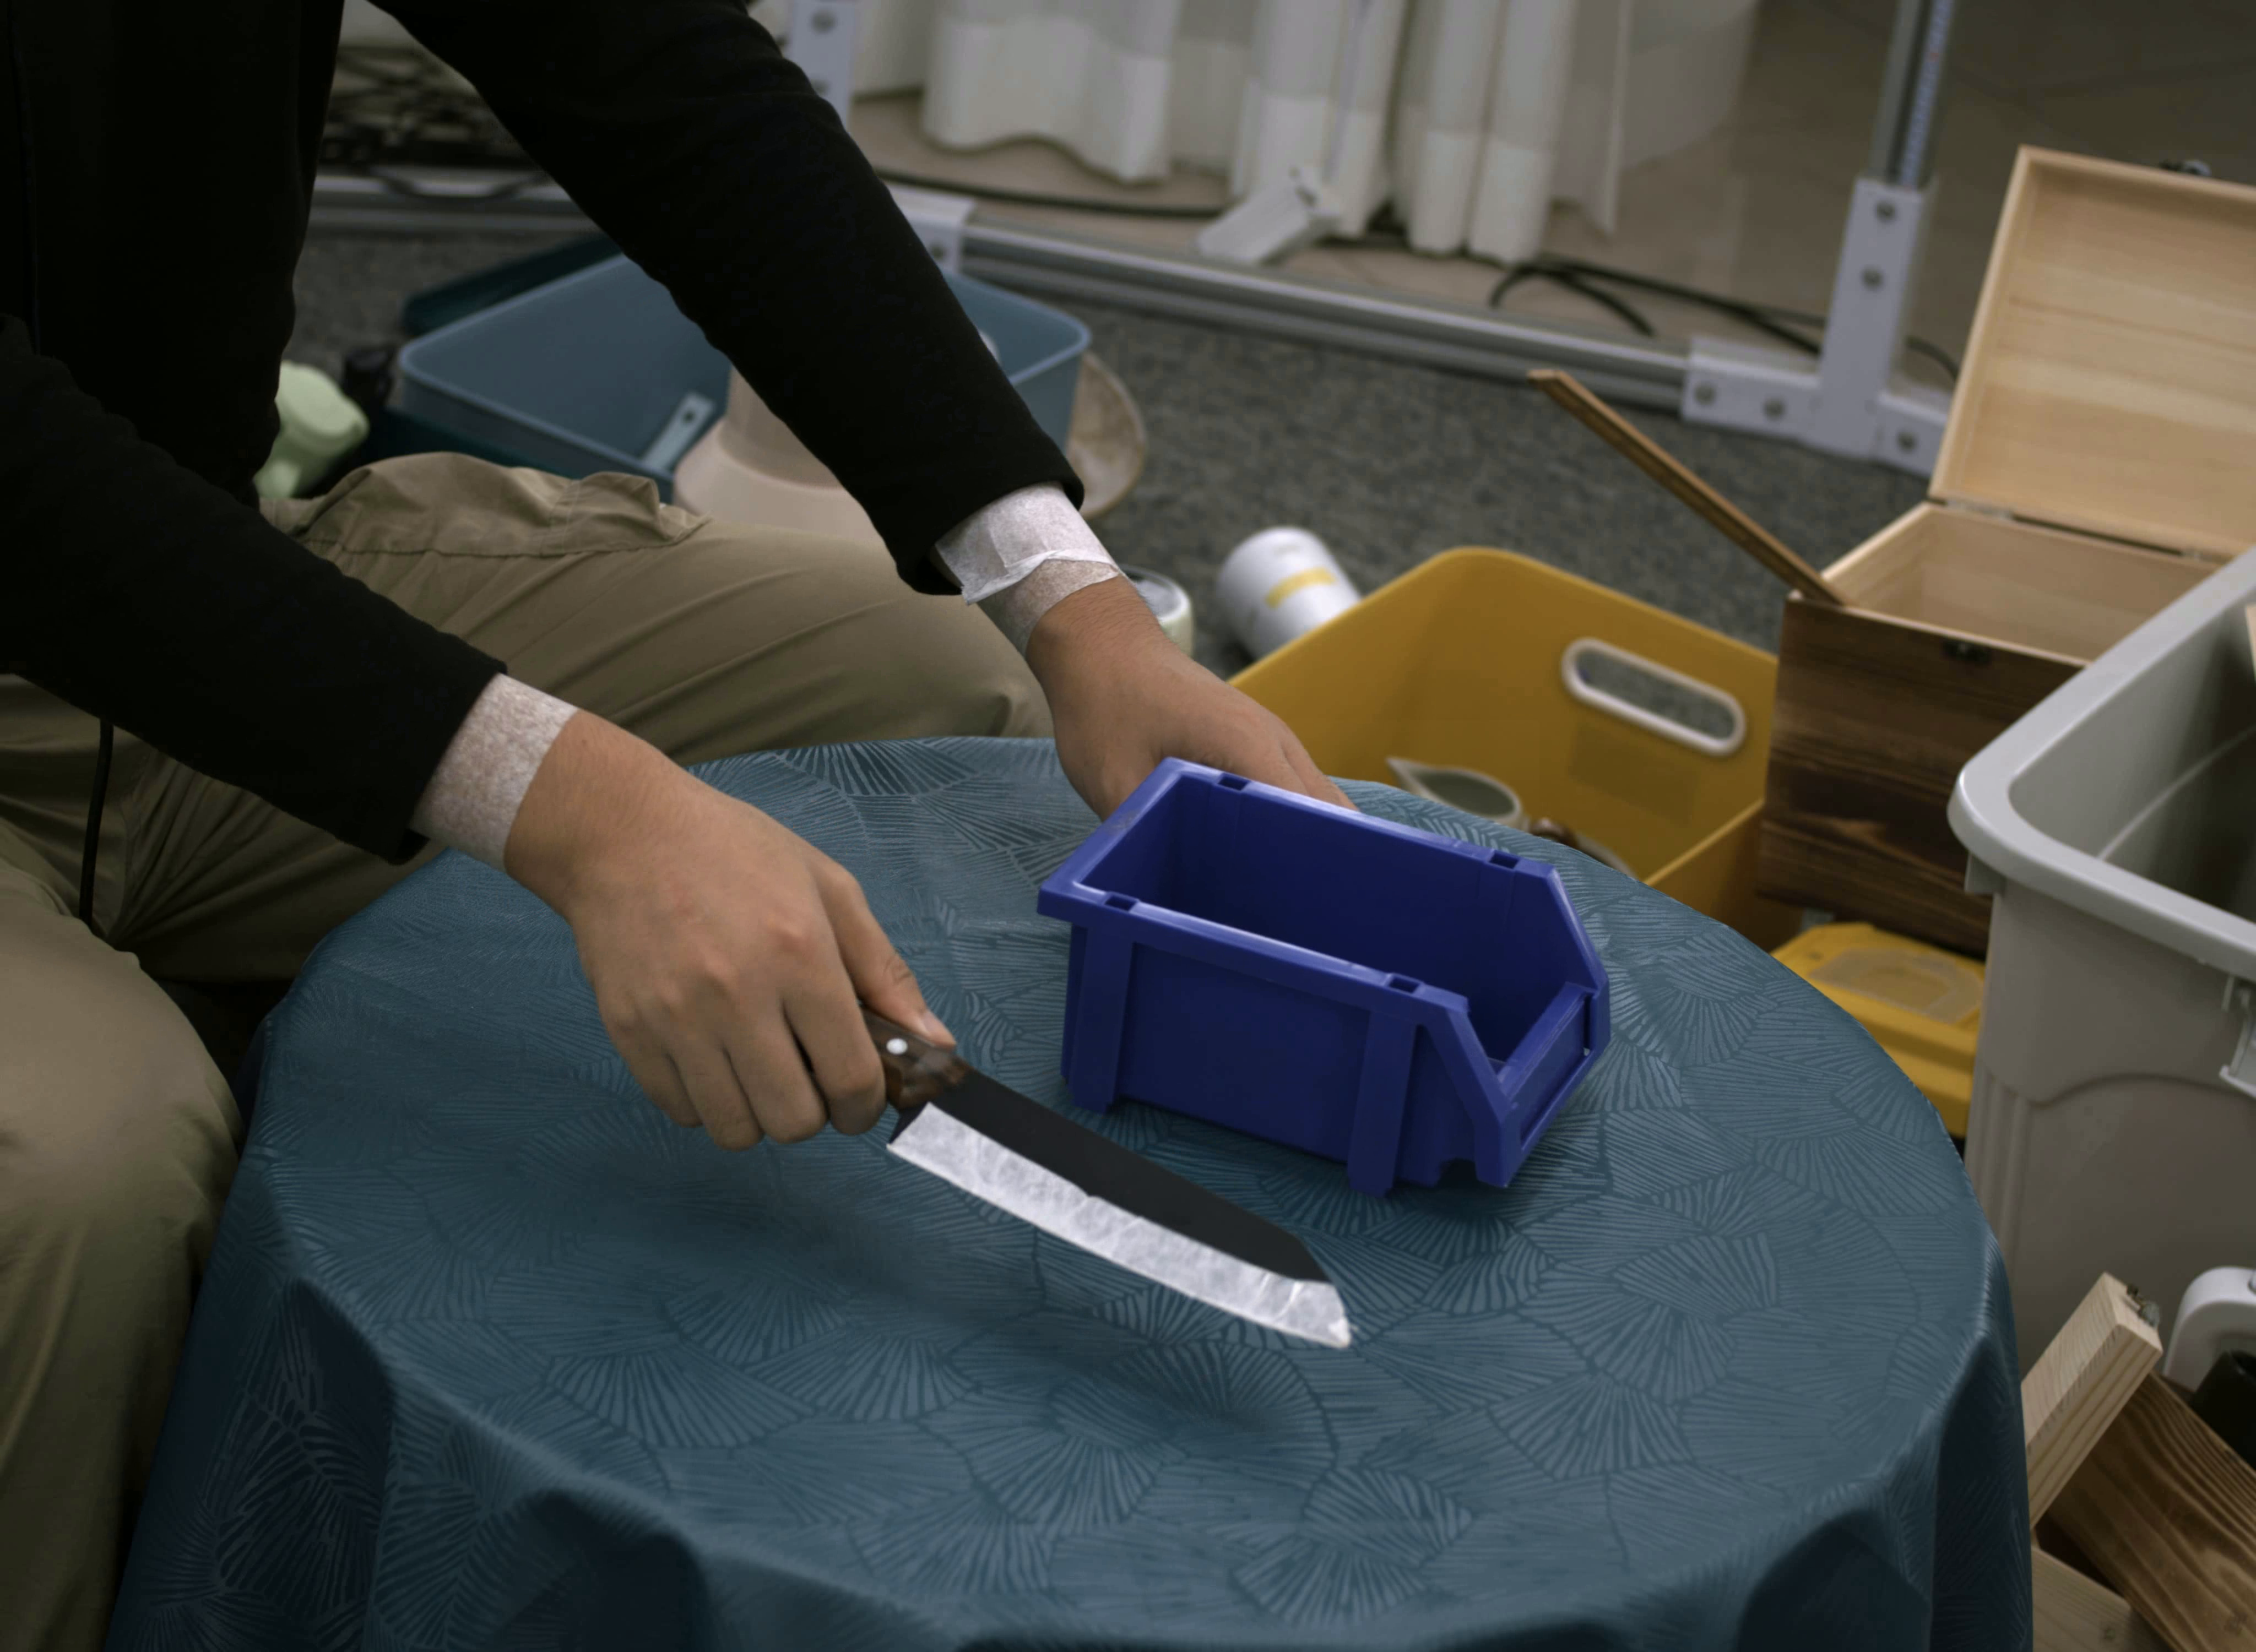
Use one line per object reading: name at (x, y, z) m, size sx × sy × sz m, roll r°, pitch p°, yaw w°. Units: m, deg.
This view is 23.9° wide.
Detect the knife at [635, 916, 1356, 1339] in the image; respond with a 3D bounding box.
knife at (-0.046, 0.098, 1.722) m, size 0.290 × 0.020 × 0.050 m, roll 27°, pitch 52°, yaw 24°

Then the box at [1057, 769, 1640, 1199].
box at (0.079, 0.057, 1.860) m, size 0.180 × 0.081 × 0.124 m, roll 14°, pitch 27°, yaw 20°
